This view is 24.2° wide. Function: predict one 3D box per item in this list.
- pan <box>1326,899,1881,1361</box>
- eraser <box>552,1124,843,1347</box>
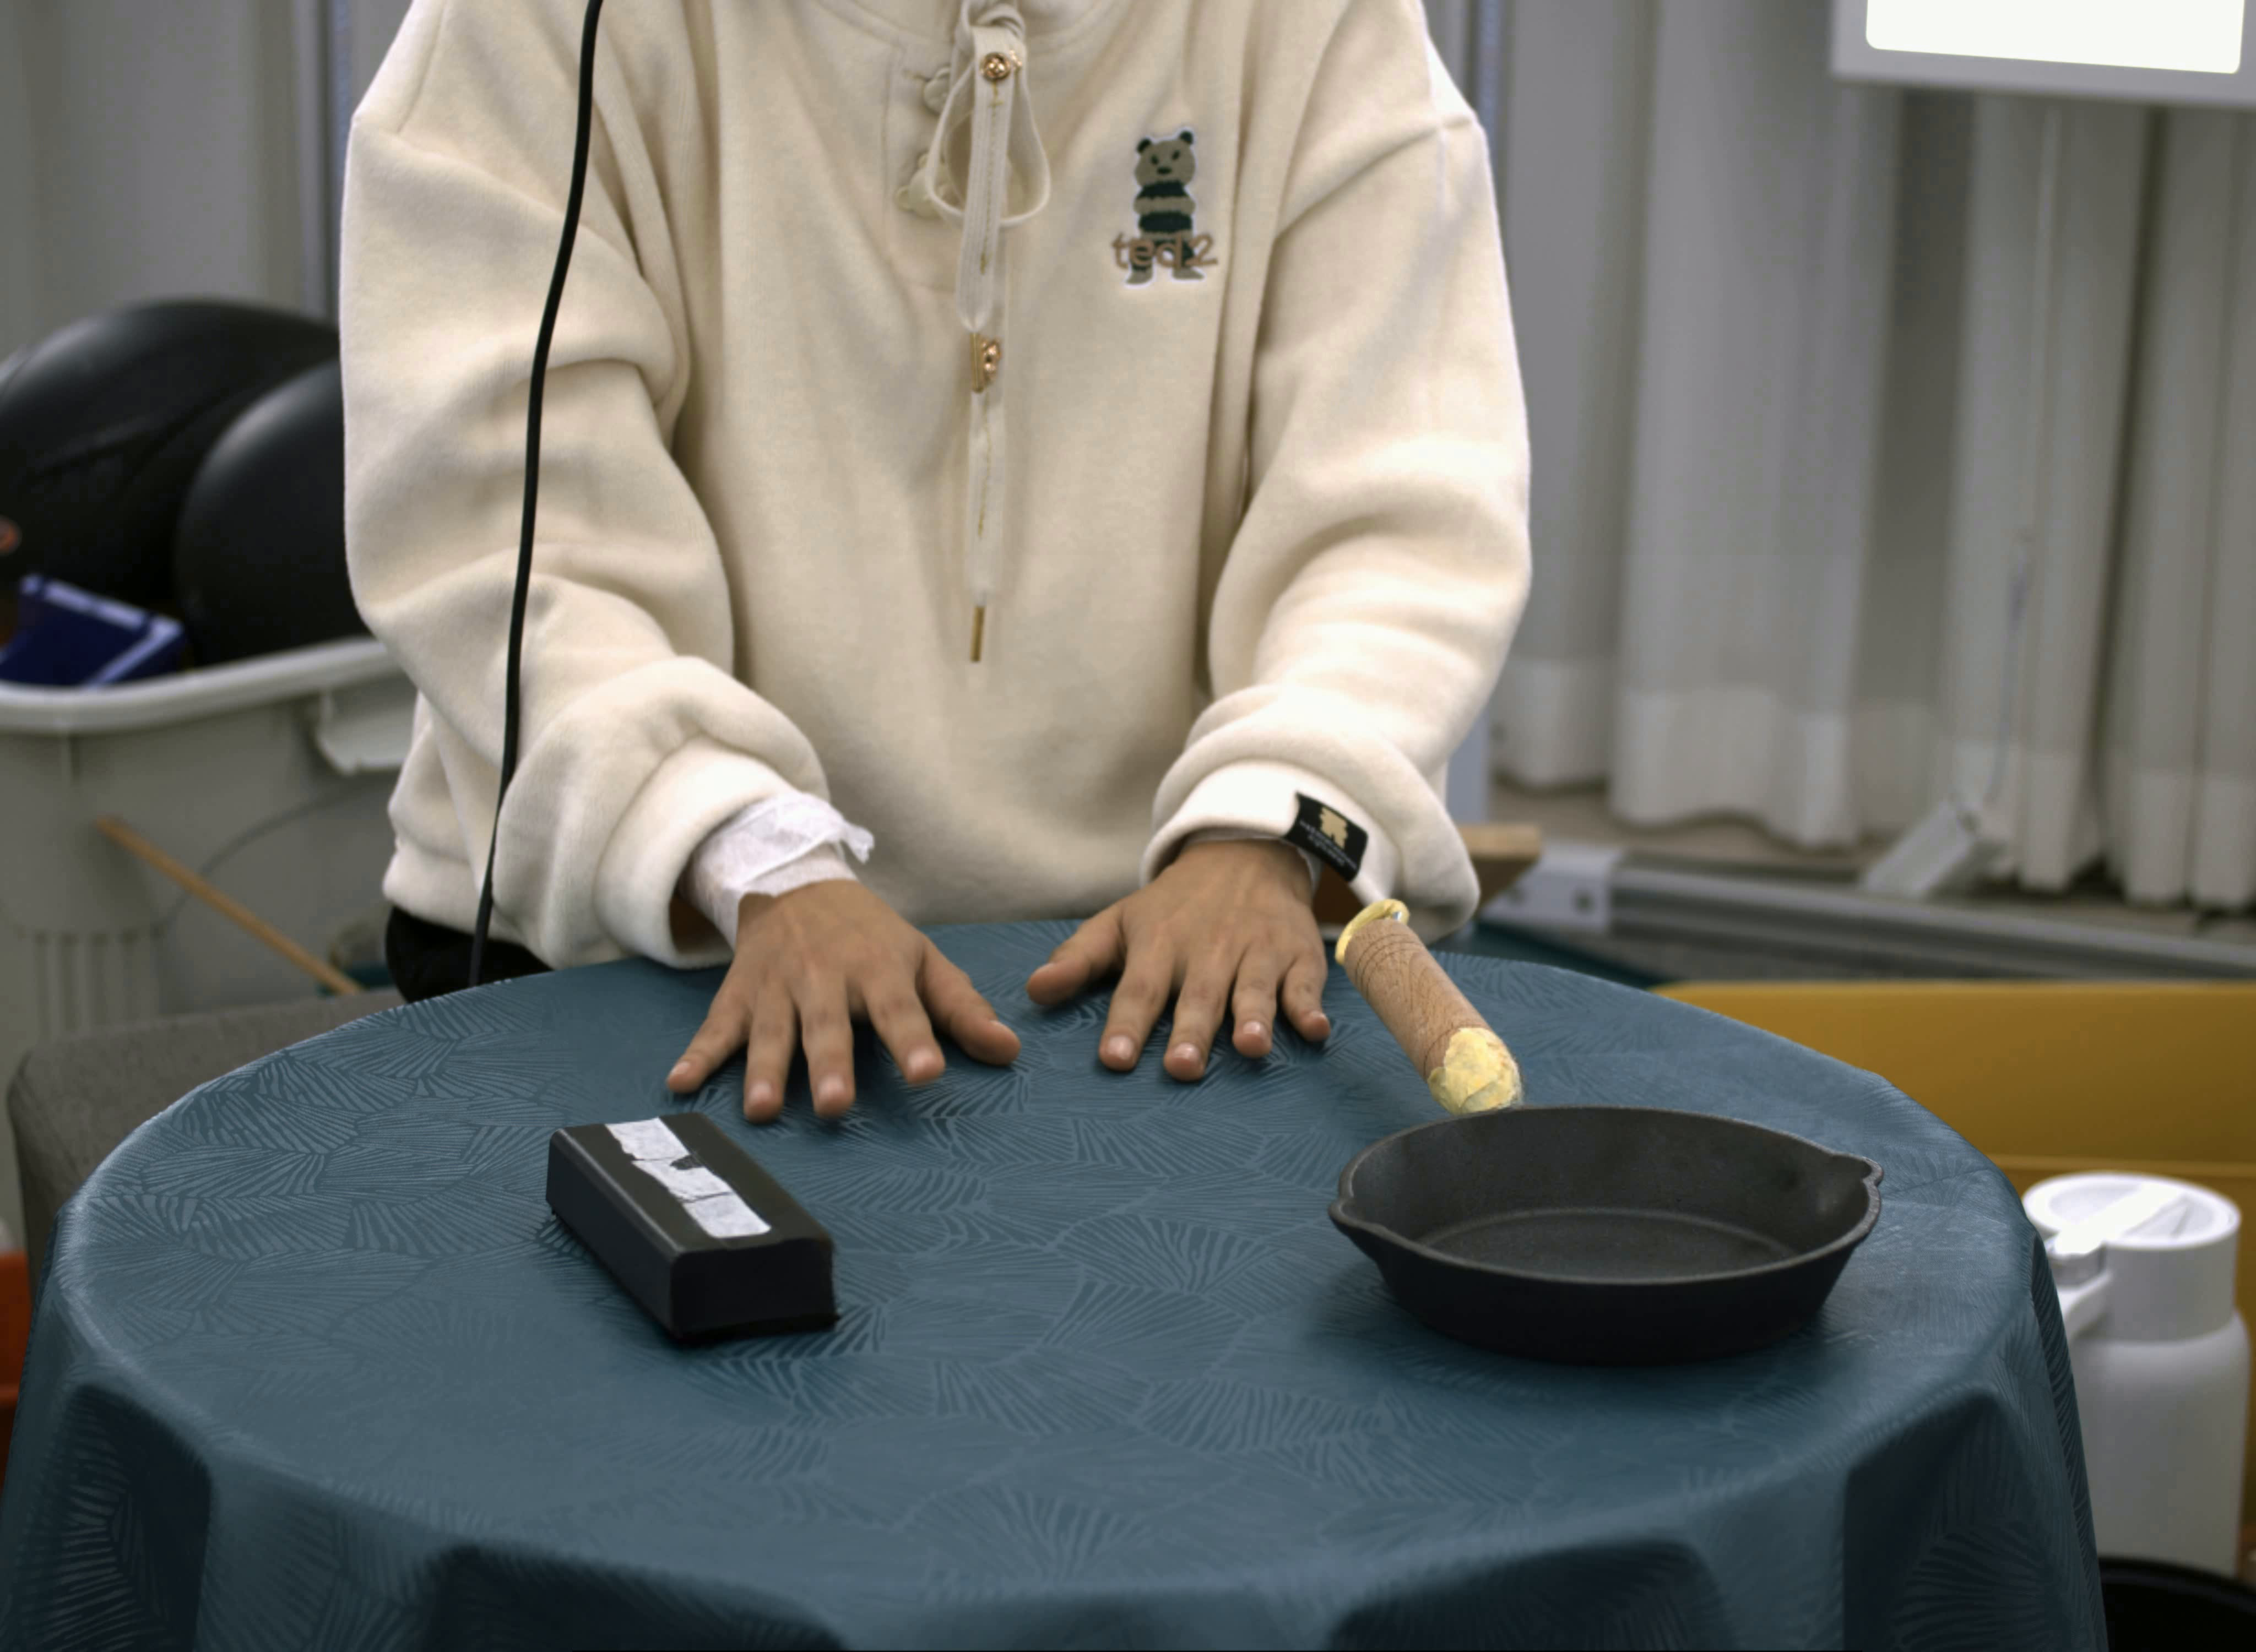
[{"bbox_3d":[0.119,0.089,1.611,0.169,0.050,0.321,-4,17,-13],"label":"pan"},{"bbox_3d":[-0.127,0.119,1.544,0.053,0.031,0.124,-5,15,-21],"label":"eraser"}]
